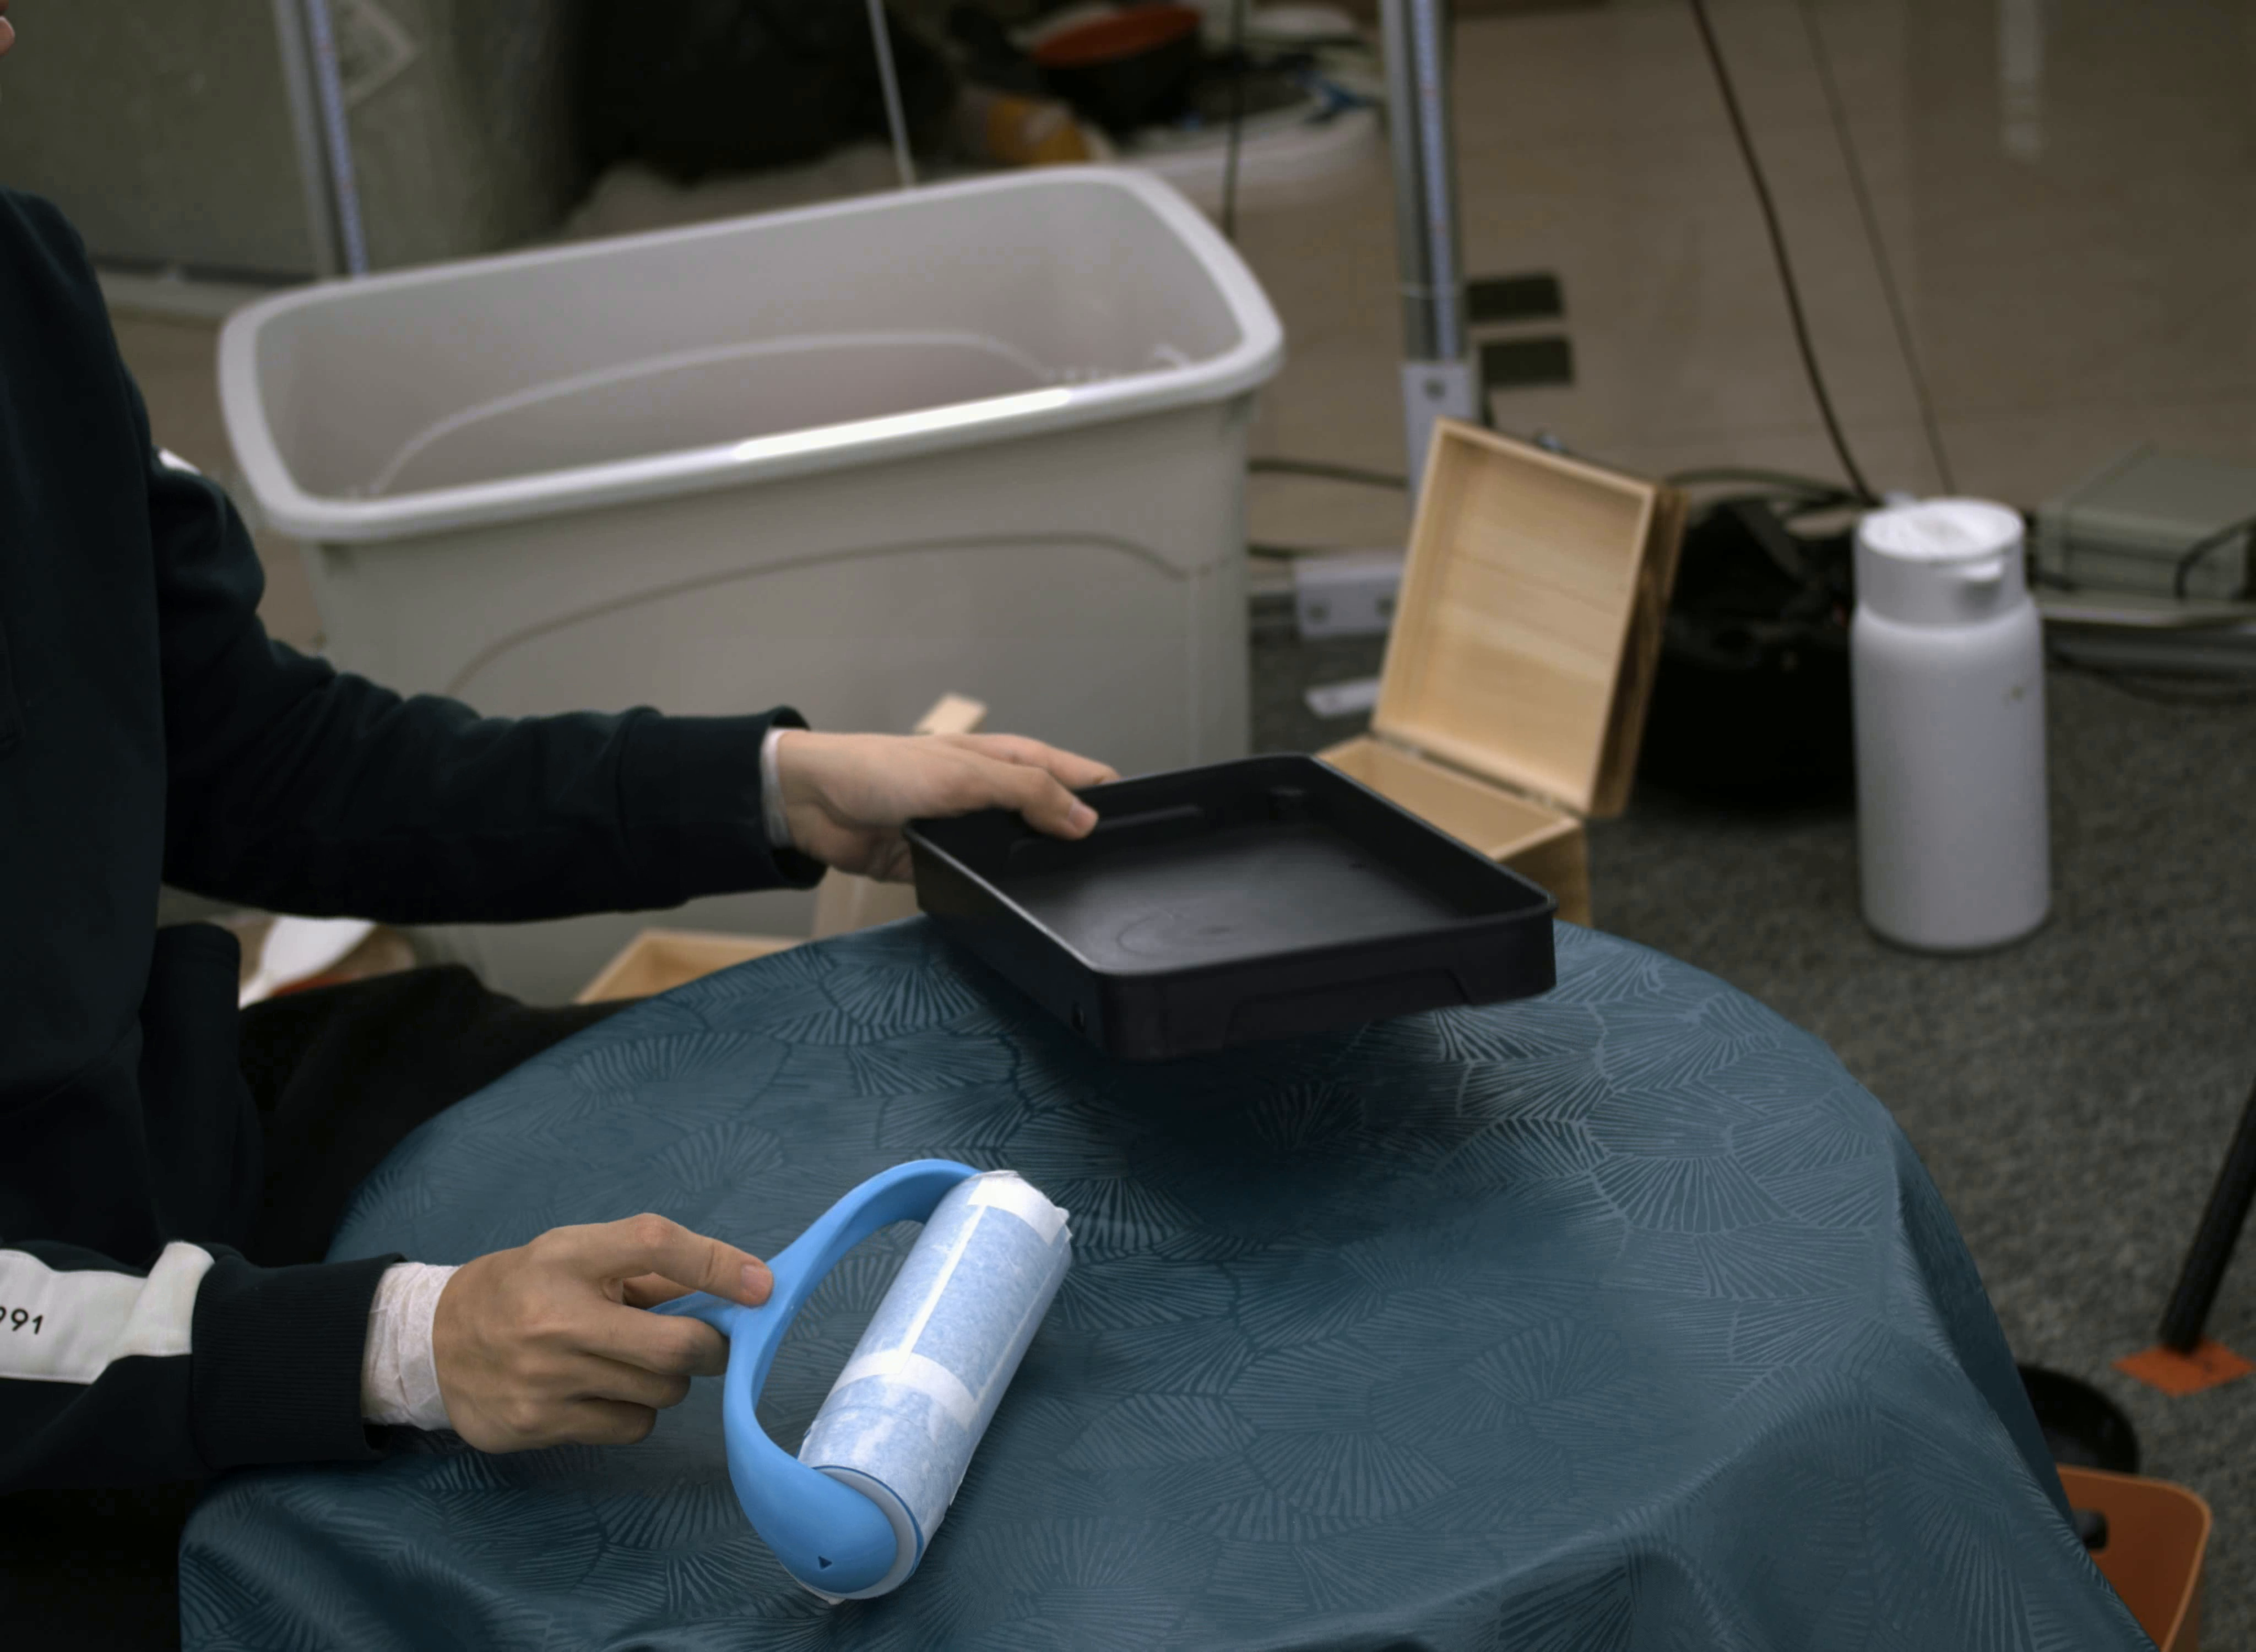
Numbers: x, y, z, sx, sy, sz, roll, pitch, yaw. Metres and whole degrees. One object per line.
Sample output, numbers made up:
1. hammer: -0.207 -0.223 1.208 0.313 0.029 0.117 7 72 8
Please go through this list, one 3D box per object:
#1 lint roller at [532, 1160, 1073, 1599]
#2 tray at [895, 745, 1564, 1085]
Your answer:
1. lint roller: -0.126 0.190 1.969 0.180 0.069 0.225 0 28 13
2. tray: 0.035 0.031 2.228 0.184 0.037 0.315 -10 16 -16
